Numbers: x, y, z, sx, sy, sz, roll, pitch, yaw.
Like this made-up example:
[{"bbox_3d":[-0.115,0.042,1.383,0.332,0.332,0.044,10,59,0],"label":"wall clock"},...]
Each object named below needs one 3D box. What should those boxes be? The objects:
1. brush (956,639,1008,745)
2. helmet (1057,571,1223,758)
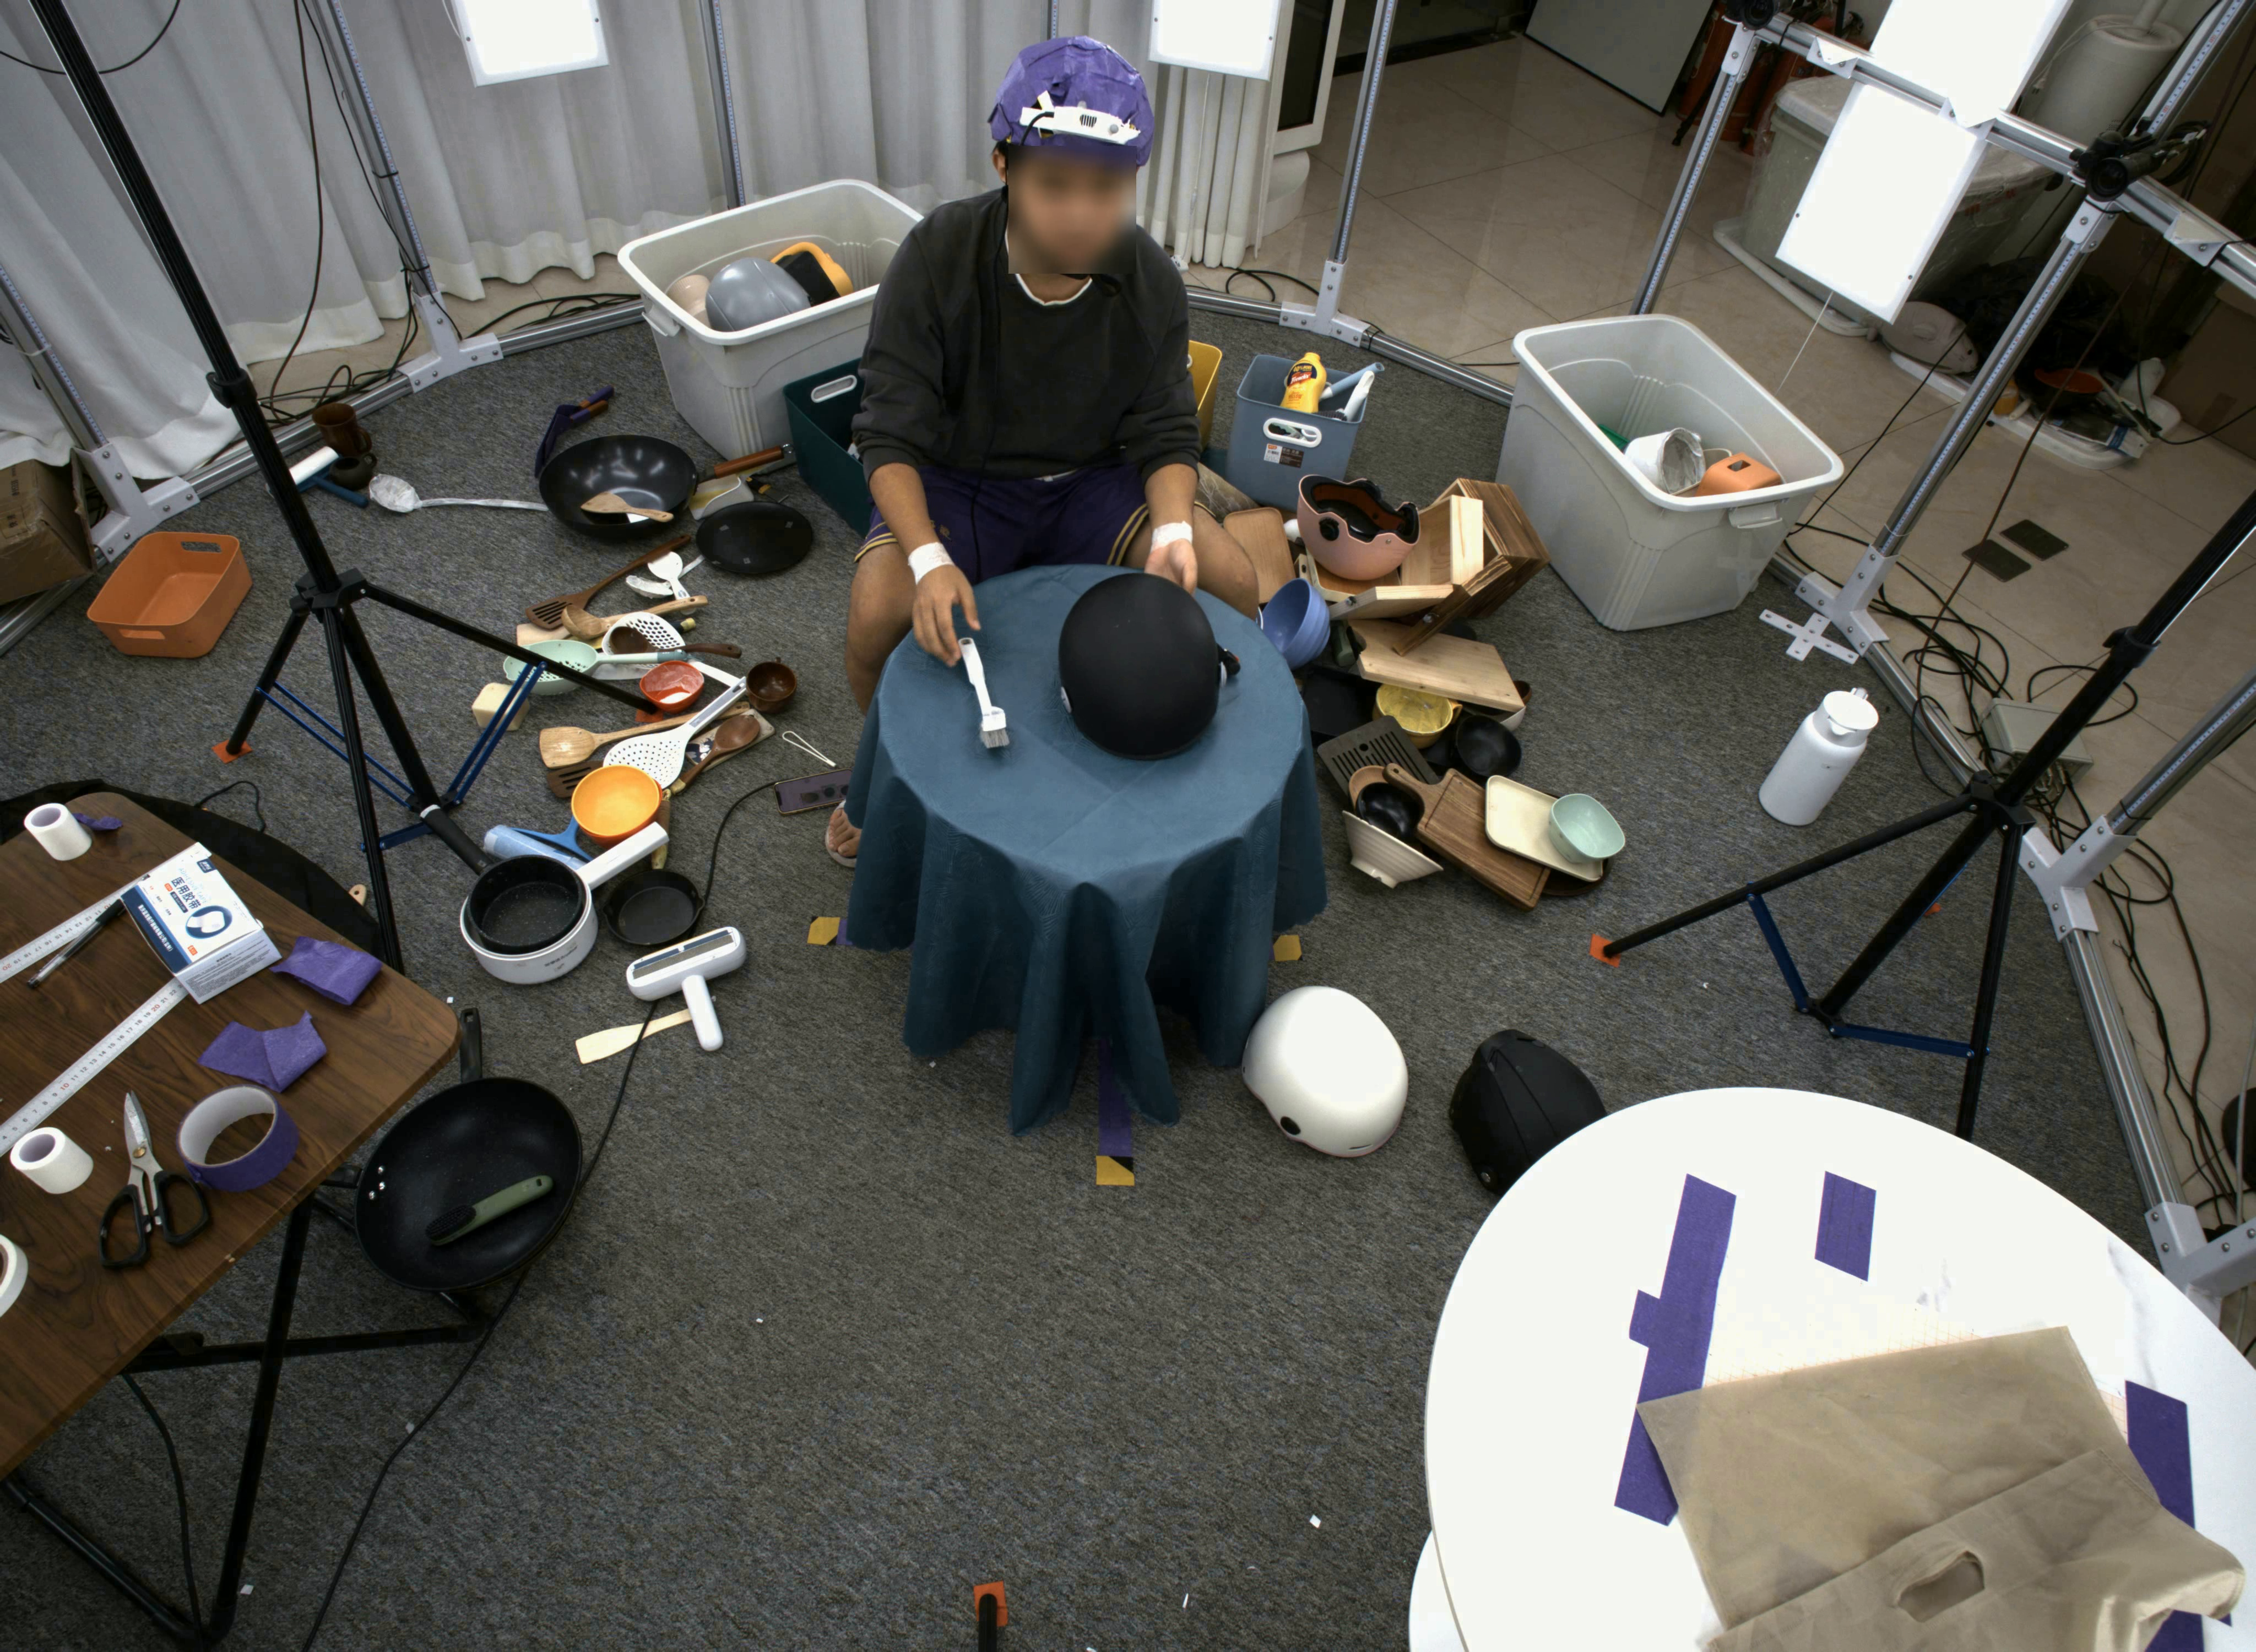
[{"bbox_3d":[-0.207,-0.187,1.799,0.034,0.049,0.249,-13,38,-10],"label":"brush"},{"bbox_3d":[0.012,-0.243,1.767,0.230,0.163,0.280,-8,53,1],"label":"helmet"}]
